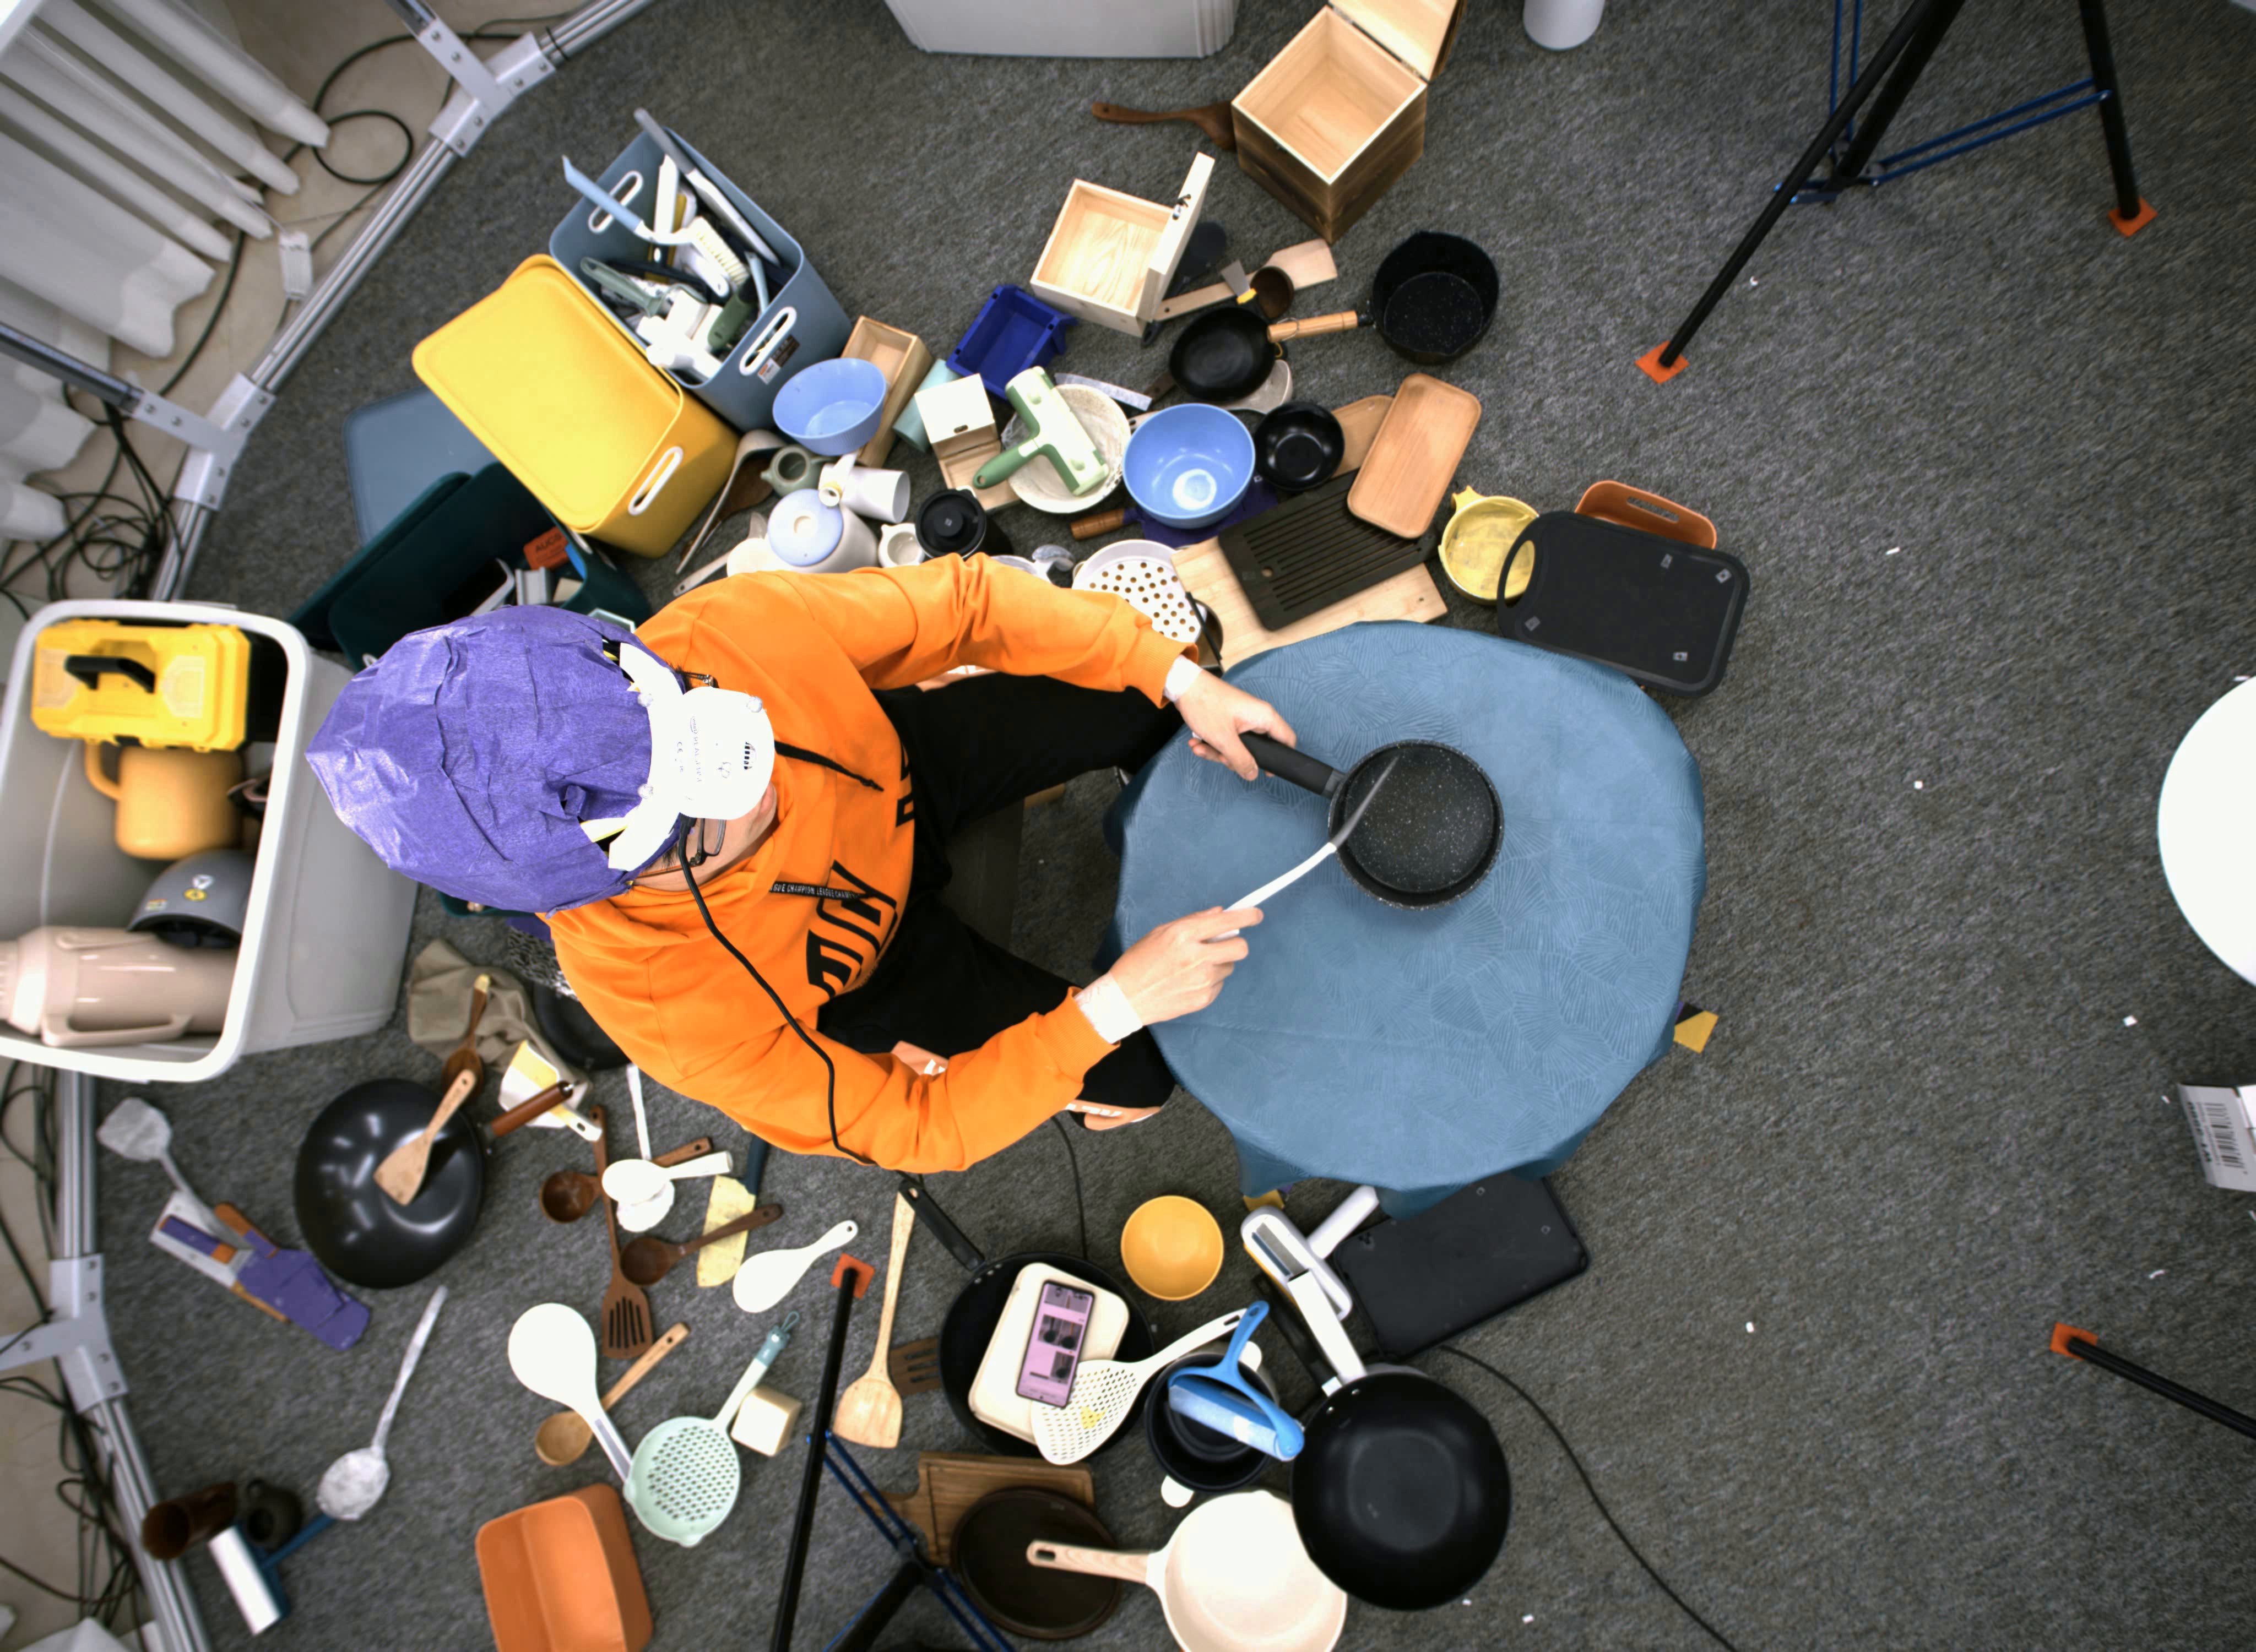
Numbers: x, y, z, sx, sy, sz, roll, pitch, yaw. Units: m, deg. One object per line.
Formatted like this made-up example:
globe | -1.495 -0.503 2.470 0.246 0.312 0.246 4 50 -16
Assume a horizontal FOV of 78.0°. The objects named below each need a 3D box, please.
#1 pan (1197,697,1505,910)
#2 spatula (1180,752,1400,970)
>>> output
pan | 0.224 -0.042 1.407 0.328 0.085 0.174 28 102 7
spatula | 0.166 0.032 1.348 0.287 0.059 0.032 -42 74 -4
